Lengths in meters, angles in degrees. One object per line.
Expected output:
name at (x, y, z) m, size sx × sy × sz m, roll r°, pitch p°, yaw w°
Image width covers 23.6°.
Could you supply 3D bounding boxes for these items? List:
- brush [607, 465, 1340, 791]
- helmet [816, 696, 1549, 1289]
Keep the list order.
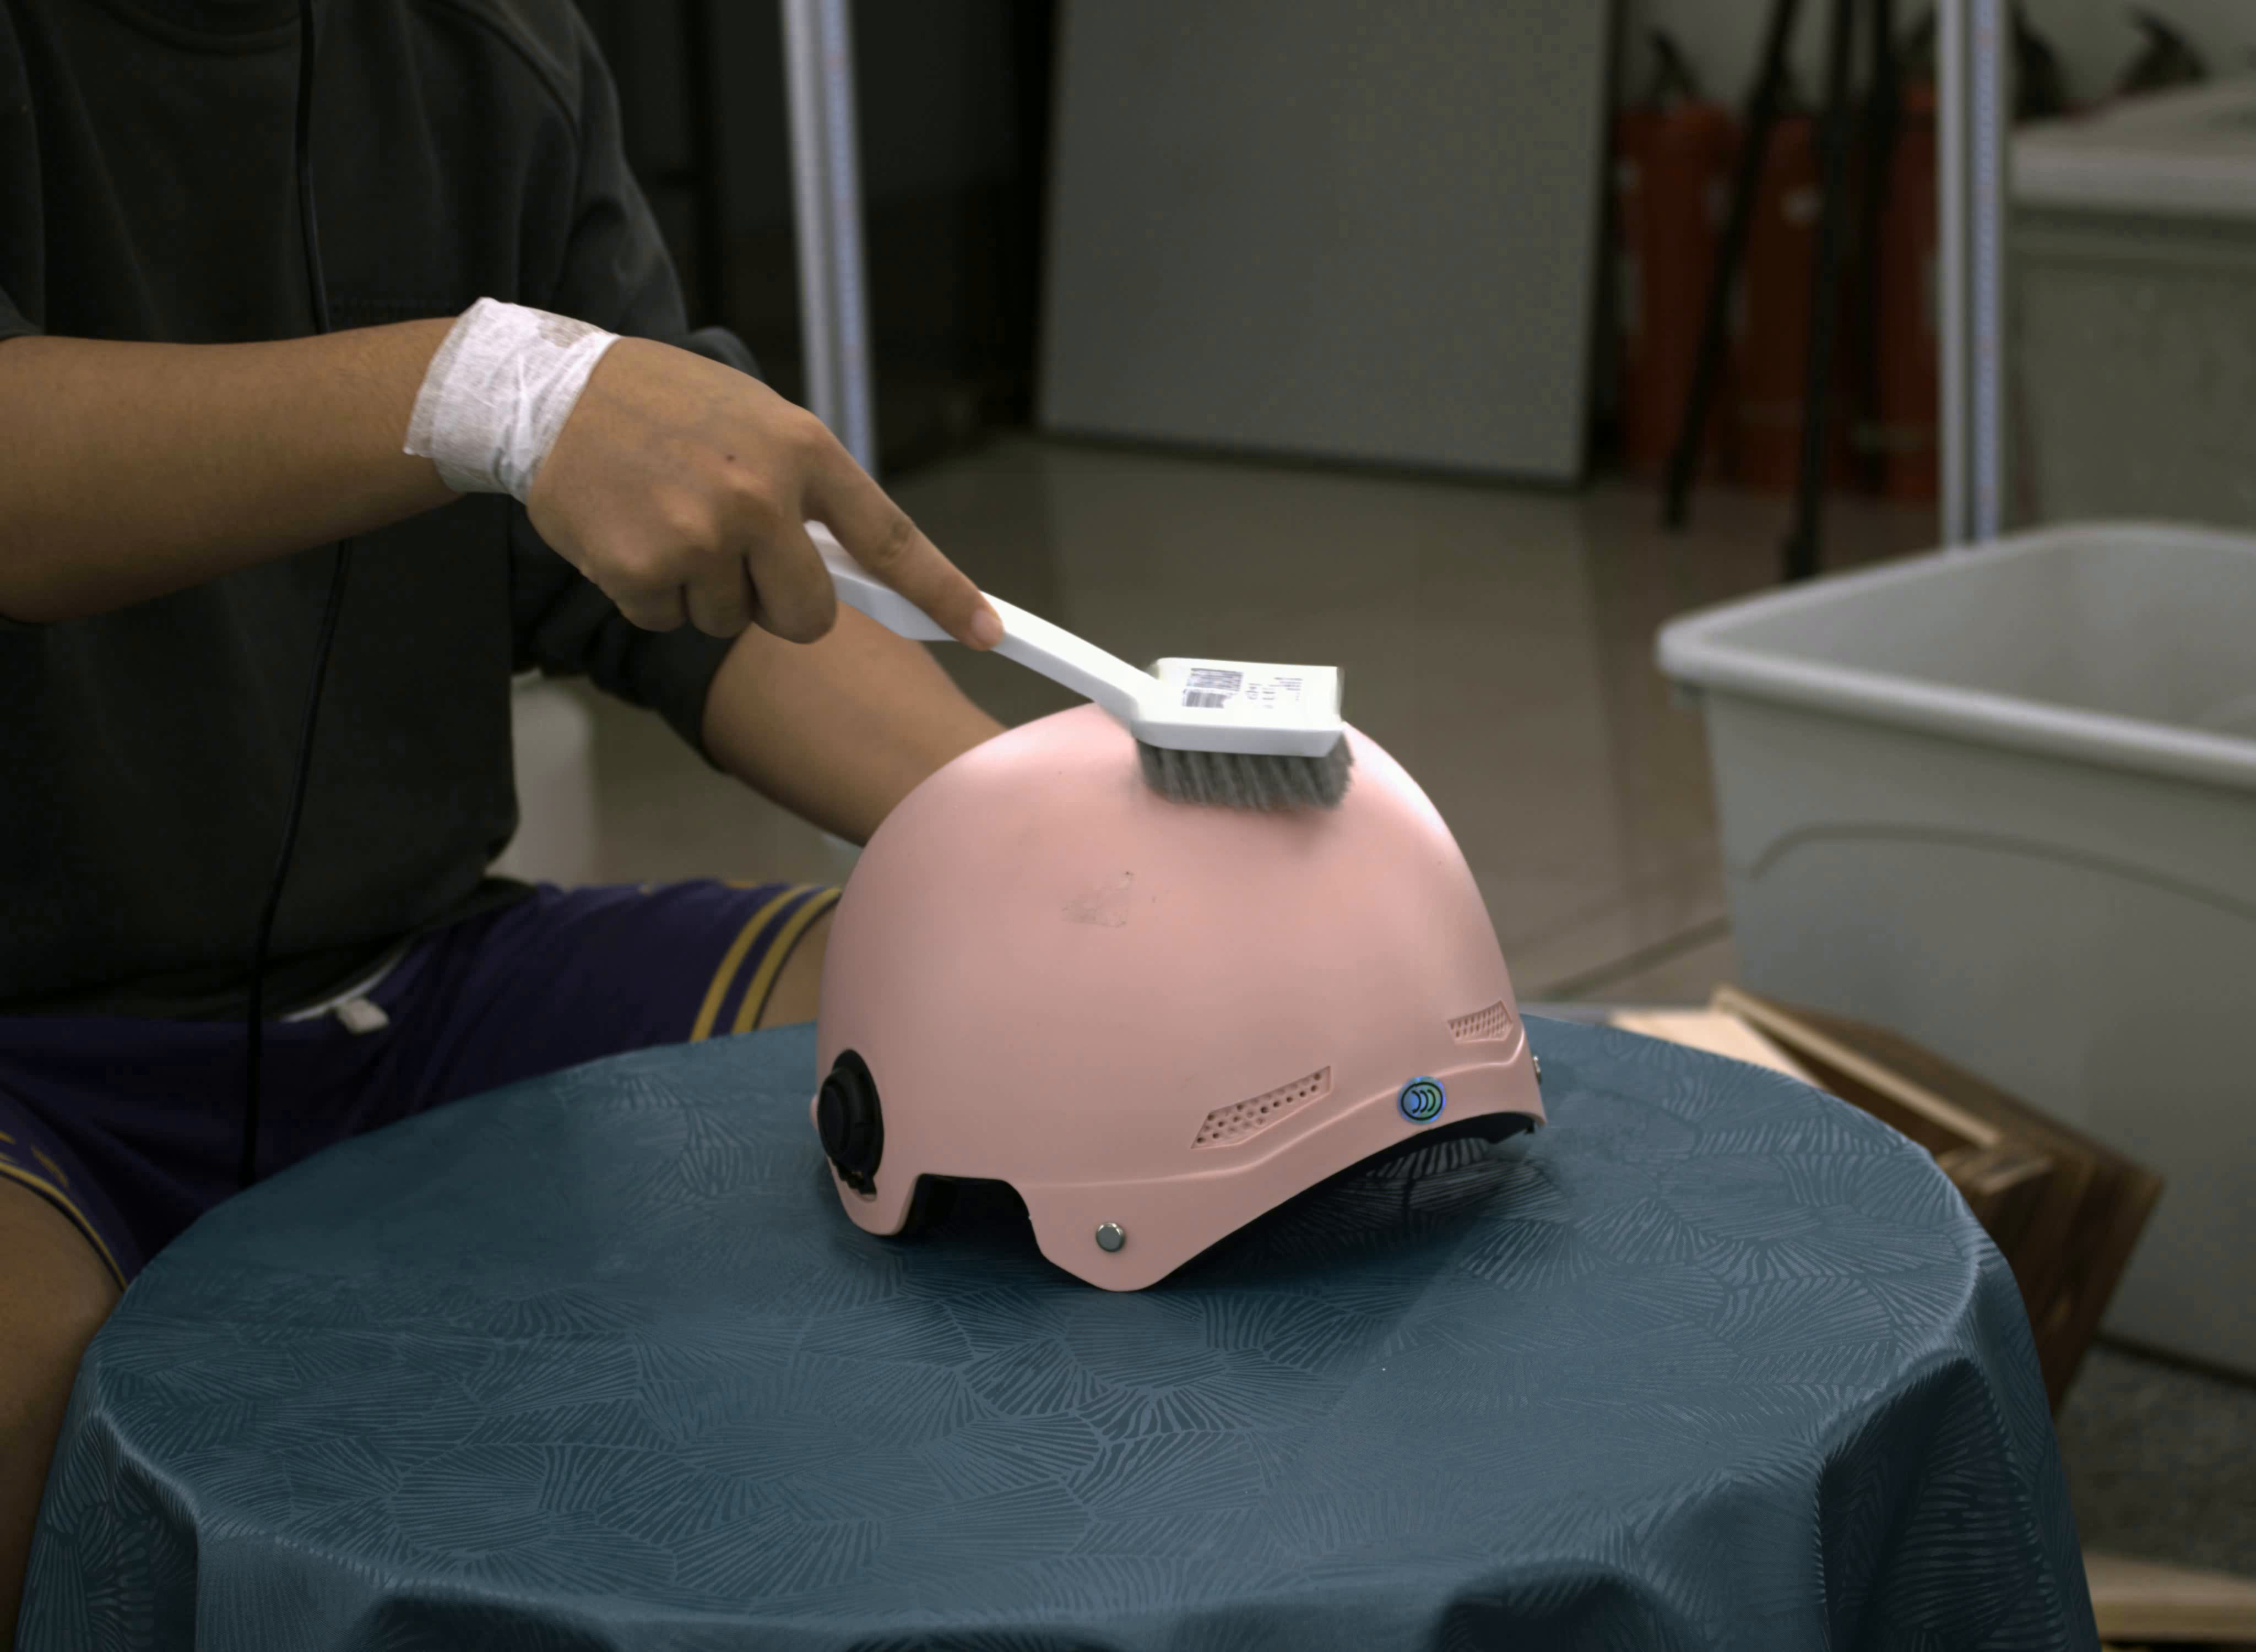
brush at (-0.048, -0.058, 1.669) m, size 0.240 × 0.051 × 0.034 m, roll 16°, pitch 39°, yaw -3°
helmet at (0.003, 0.036, 1.769) m, size 0.229 × 0.160 × 0.269 m, roll -19°, pitch 15°, yaw -33°
